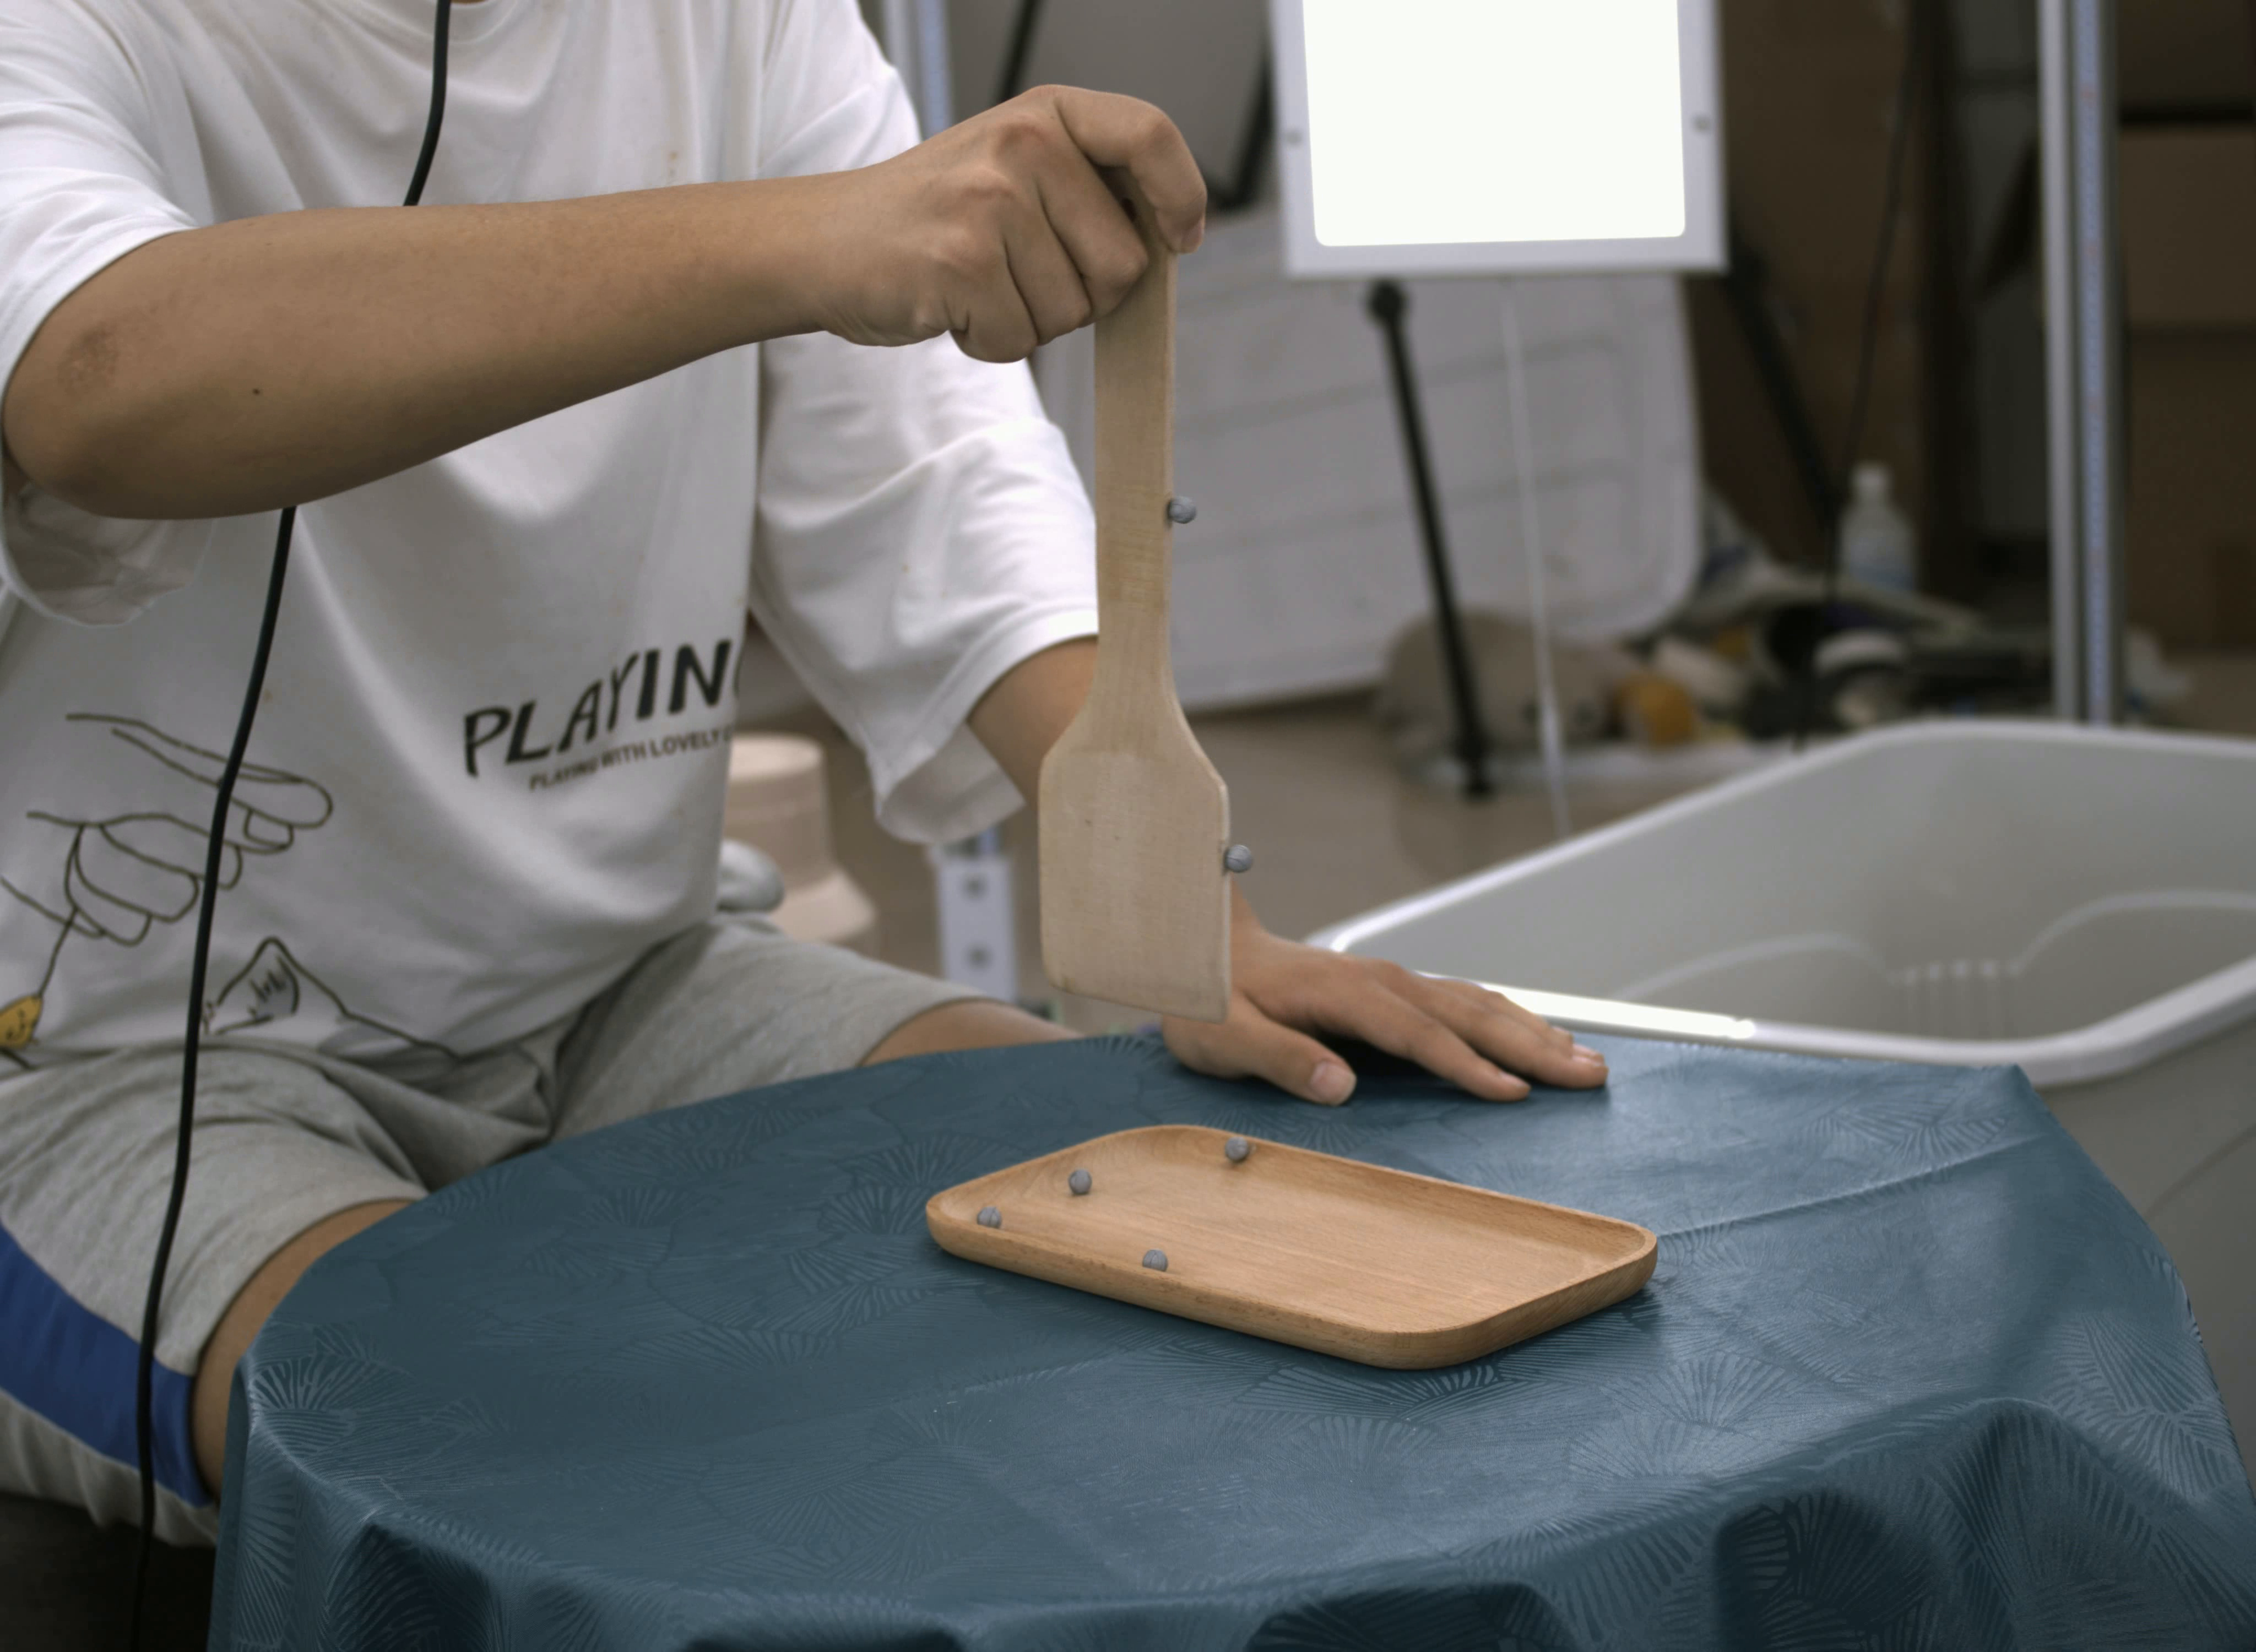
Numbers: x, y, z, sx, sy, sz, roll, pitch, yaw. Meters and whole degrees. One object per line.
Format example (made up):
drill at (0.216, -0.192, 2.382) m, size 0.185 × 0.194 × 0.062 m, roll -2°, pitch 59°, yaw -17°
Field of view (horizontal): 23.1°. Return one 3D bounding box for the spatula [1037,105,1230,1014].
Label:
spatula at (0.003, -0.082, 1.736) m, size 0.073 × 0.294 × 0.010 m, roll 12°, pitch 22°, yaw 32°

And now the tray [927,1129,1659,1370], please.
tray at (0.052, 0.137, 1.804) m, size 0.127 × 0.023 × 0.256 m, roll -18°, pitch 19°, yaw -37°
